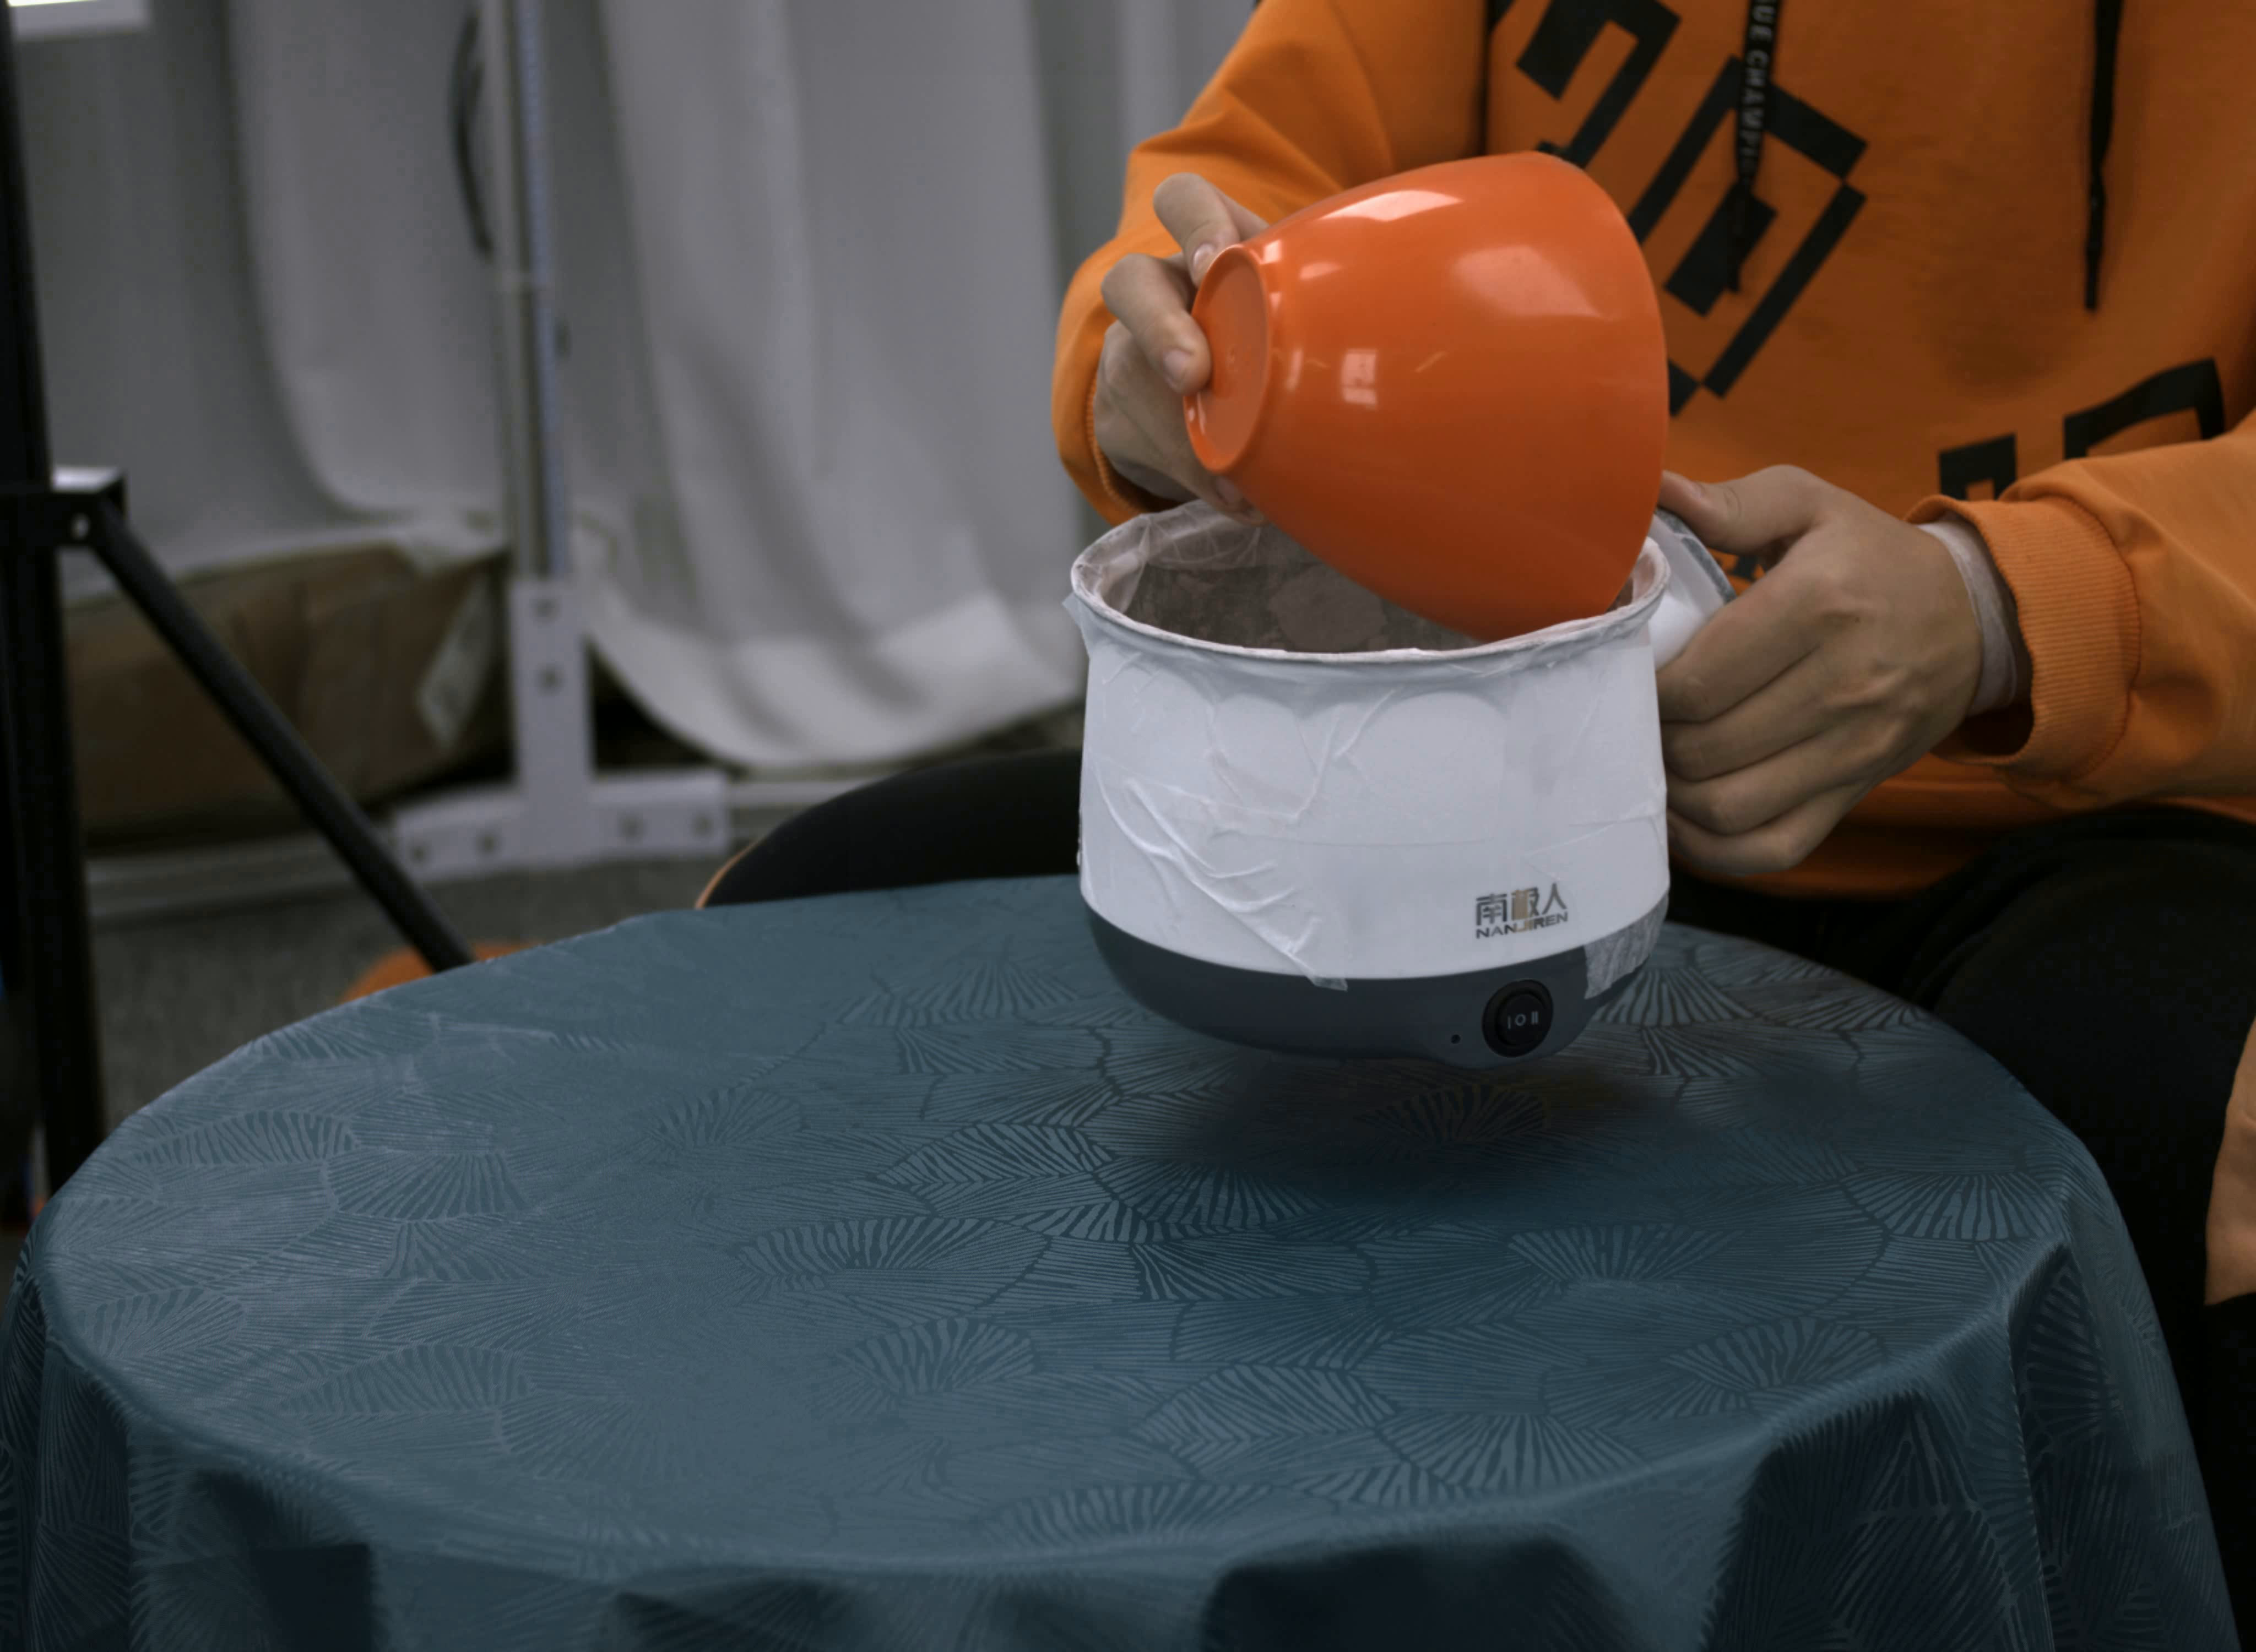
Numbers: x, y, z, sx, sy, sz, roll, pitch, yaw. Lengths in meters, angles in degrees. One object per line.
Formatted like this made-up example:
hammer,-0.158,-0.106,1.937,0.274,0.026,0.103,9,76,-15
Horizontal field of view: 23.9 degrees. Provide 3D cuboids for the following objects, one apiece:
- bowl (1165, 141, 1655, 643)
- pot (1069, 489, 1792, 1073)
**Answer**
bowl,0.074,-0.127,1.545,0.102,0.148,0.150,4,13,-22
pot,0.096,-0.021,1.593,0.229,0.136,0.182,-11,22,-25
